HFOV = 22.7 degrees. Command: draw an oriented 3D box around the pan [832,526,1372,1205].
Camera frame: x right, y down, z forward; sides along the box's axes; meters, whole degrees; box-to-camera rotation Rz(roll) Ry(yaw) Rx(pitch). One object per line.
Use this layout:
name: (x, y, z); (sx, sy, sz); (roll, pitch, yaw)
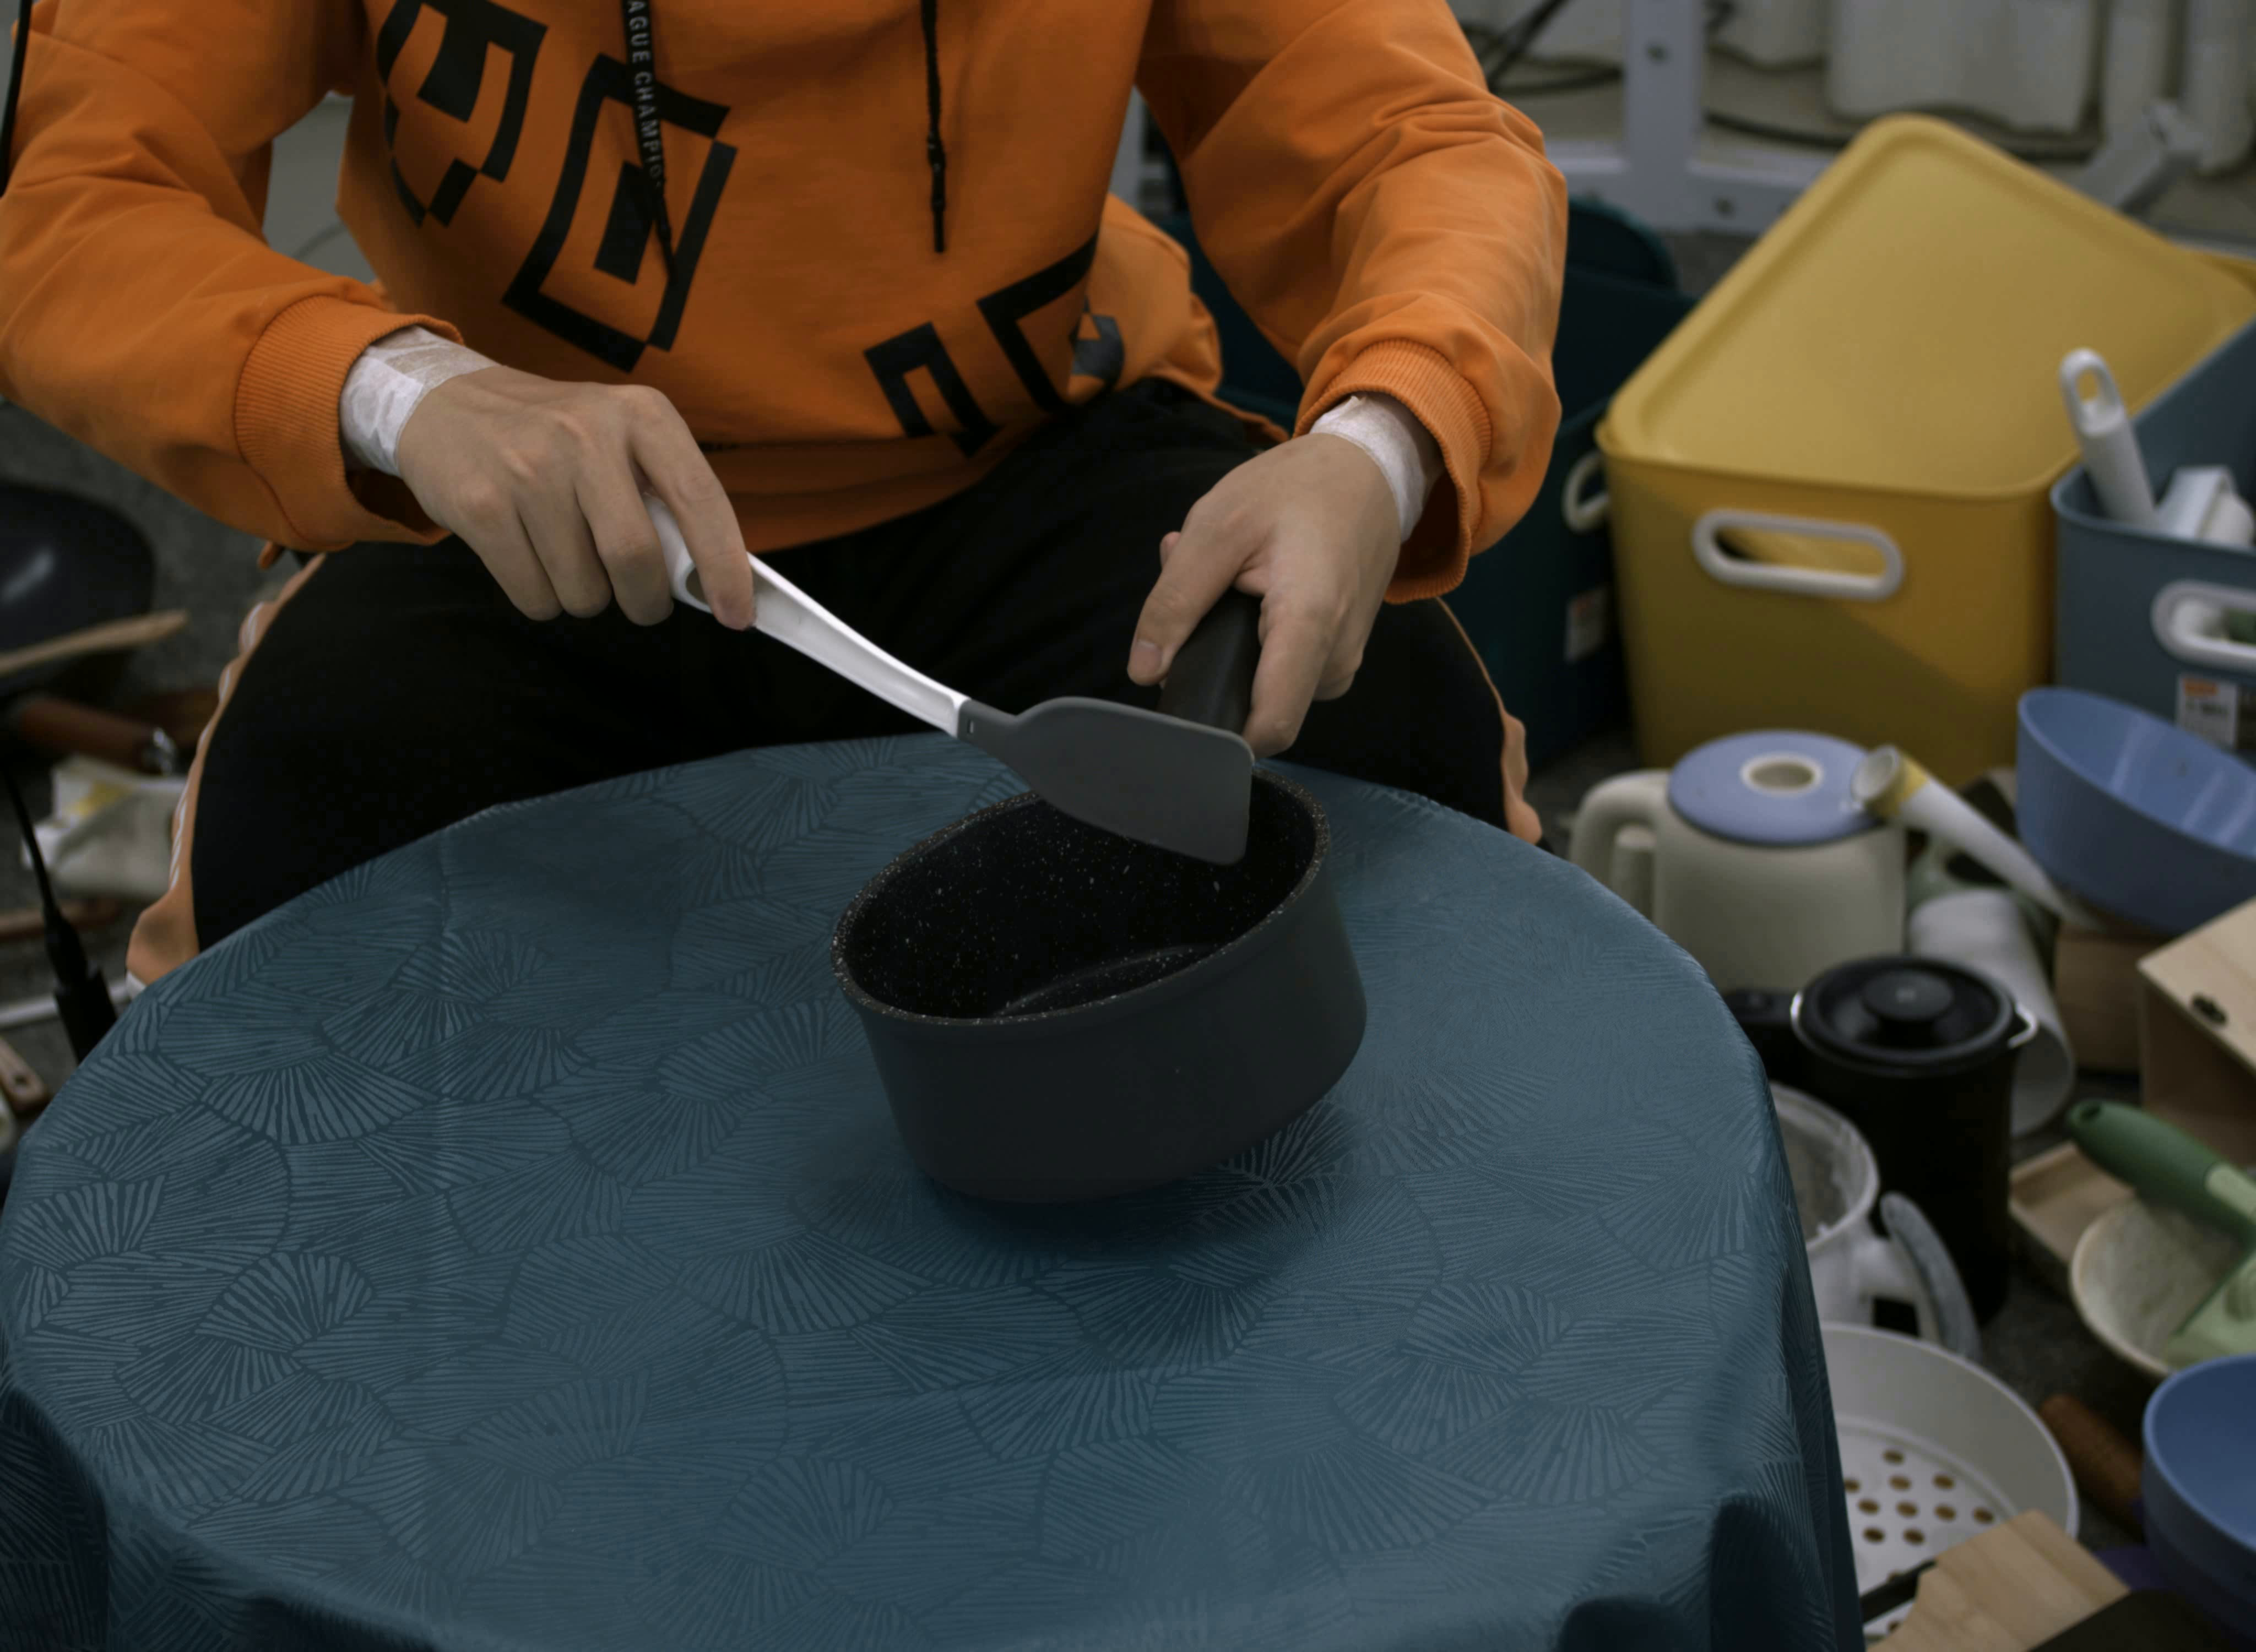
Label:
pan: (0.016, 0.011, 1.932); (0.170, 0.085, 0.335); (-4, 29, 22)

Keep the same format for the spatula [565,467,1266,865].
spatula: (-0.076, -0.057, 1.933); (0.287, 0.058, 0.032); (25, 32, 27)
